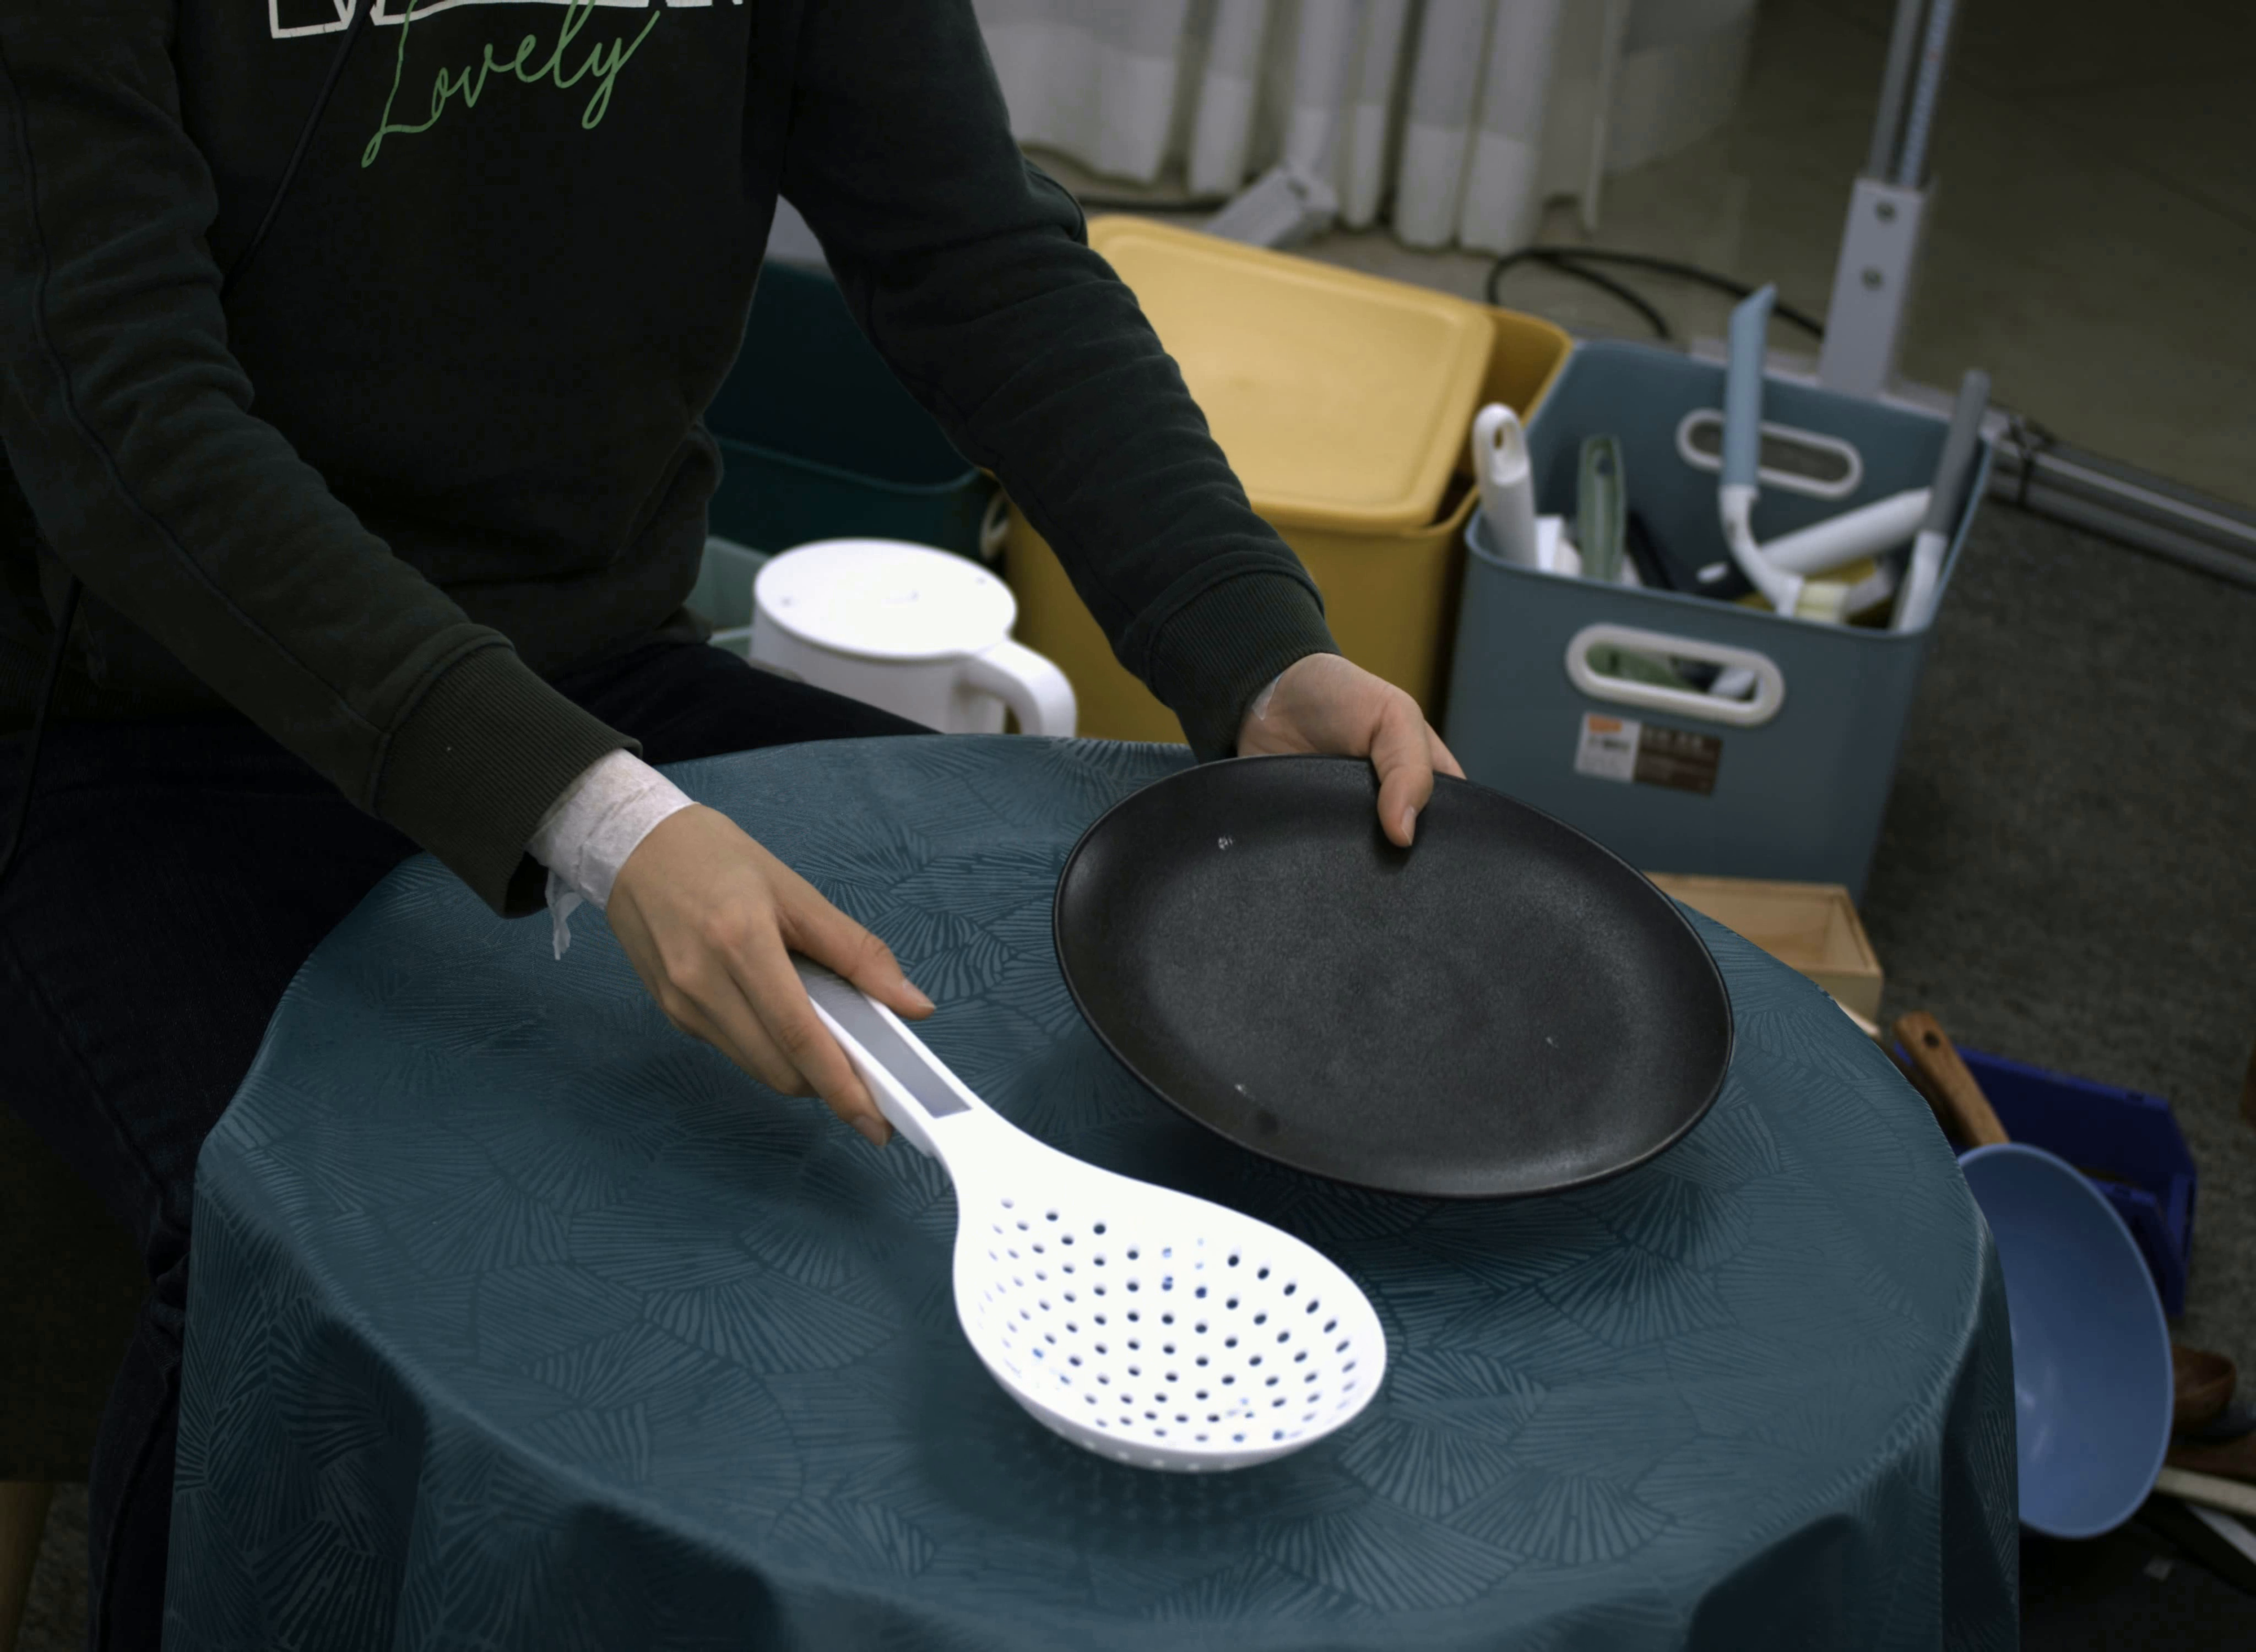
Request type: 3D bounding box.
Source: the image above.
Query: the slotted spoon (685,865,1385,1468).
[{"bbox_3d":[-0.048,0.105,1.729,0.135,0.045,0.353,-10,40,-34],"label":"slotted spoon"}]

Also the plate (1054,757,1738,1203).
[{"bbox_3d":[0.092,0.056,1.854,0.243,0.023,0.246,8,36,-6],"label":"plate"}]
